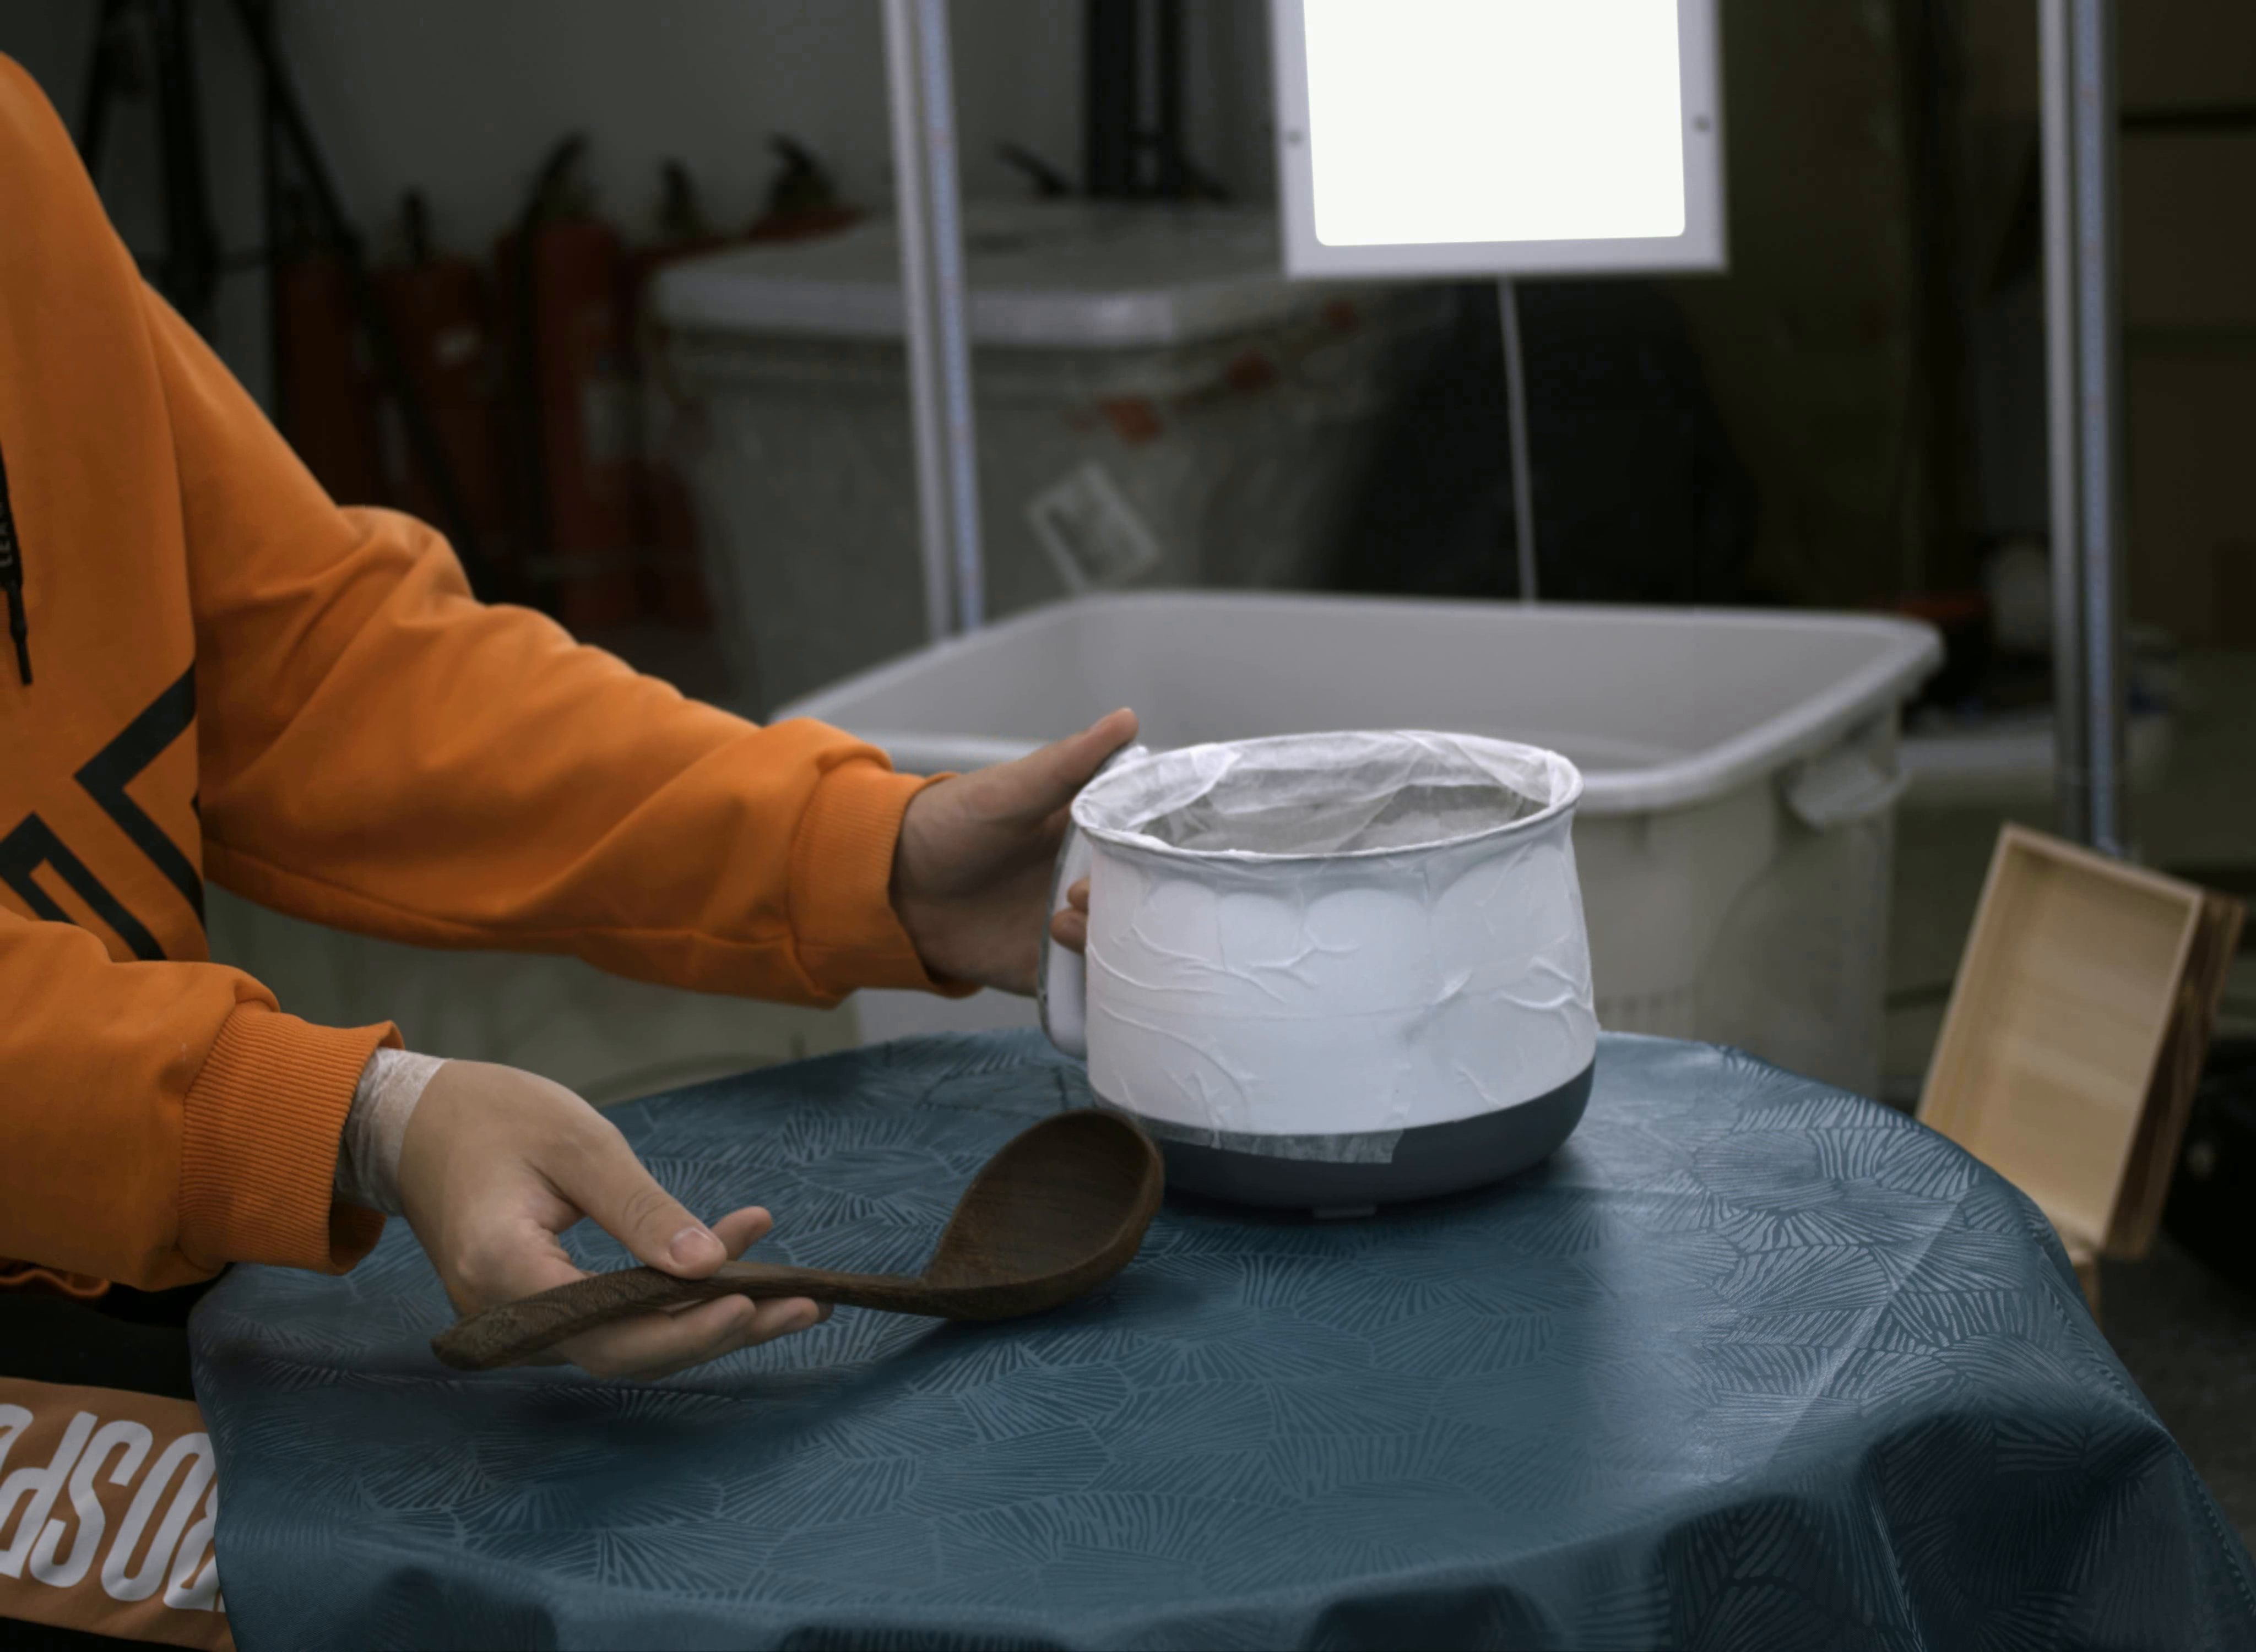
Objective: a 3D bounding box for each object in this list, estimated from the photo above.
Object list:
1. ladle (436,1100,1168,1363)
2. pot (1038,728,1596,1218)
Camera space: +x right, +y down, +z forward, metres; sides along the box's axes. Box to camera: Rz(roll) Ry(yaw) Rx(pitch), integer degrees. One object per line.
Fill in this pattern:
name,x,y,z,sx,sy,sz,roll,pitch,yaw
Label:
ladle,-0.099,0.124,1.722,0.267,0.071,0.077,0,6,-42
pot,0.053,0.045,1.916,0.174,0.137,0.239,-15,18,-41
